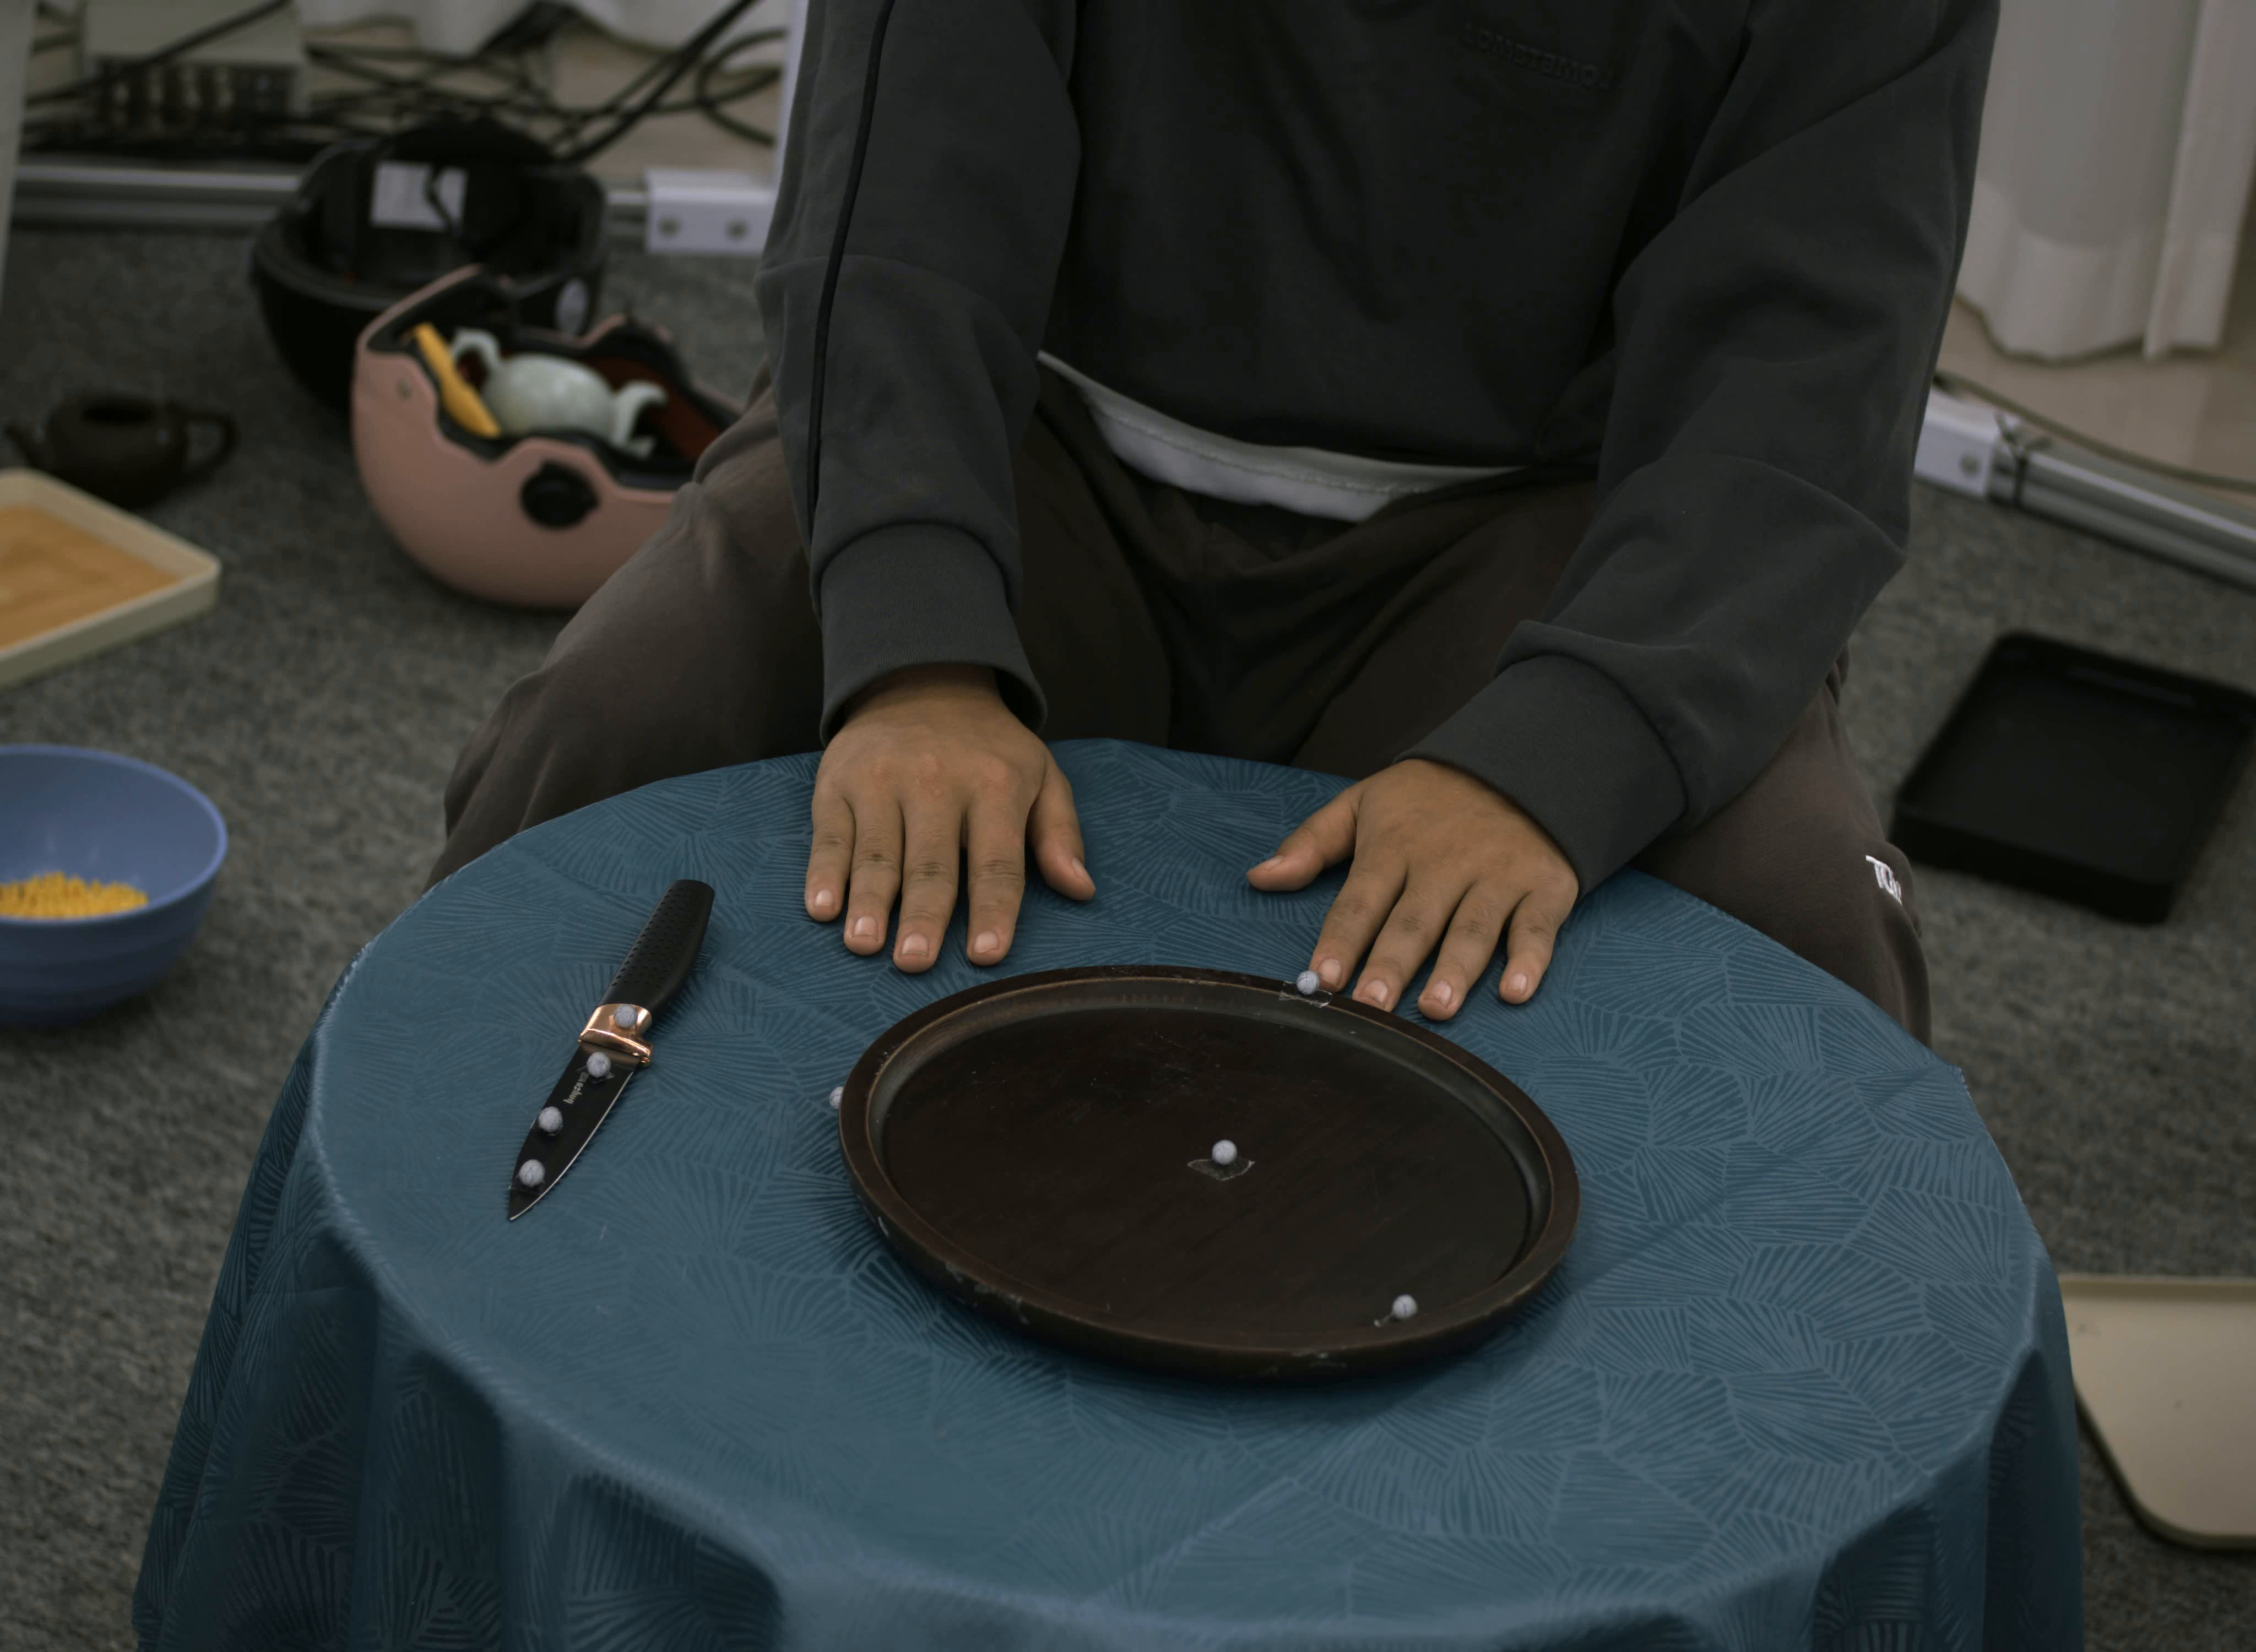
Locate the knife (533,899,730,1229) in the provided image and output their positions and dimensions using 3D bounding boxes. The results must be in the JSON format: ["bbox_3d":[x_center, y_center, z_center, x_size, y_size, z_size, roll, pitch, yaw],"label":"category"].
[{"bbox_3d":[-0.175,0.080,1.839,0.026,0.017,0.226,16,28,5],"label":"knife"}]

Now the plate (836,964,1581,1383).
[{"bbox_3d":[0.027,0.116,1.802,0.254,0.029,0.256,5,26,-3],"label":"plate"}]
